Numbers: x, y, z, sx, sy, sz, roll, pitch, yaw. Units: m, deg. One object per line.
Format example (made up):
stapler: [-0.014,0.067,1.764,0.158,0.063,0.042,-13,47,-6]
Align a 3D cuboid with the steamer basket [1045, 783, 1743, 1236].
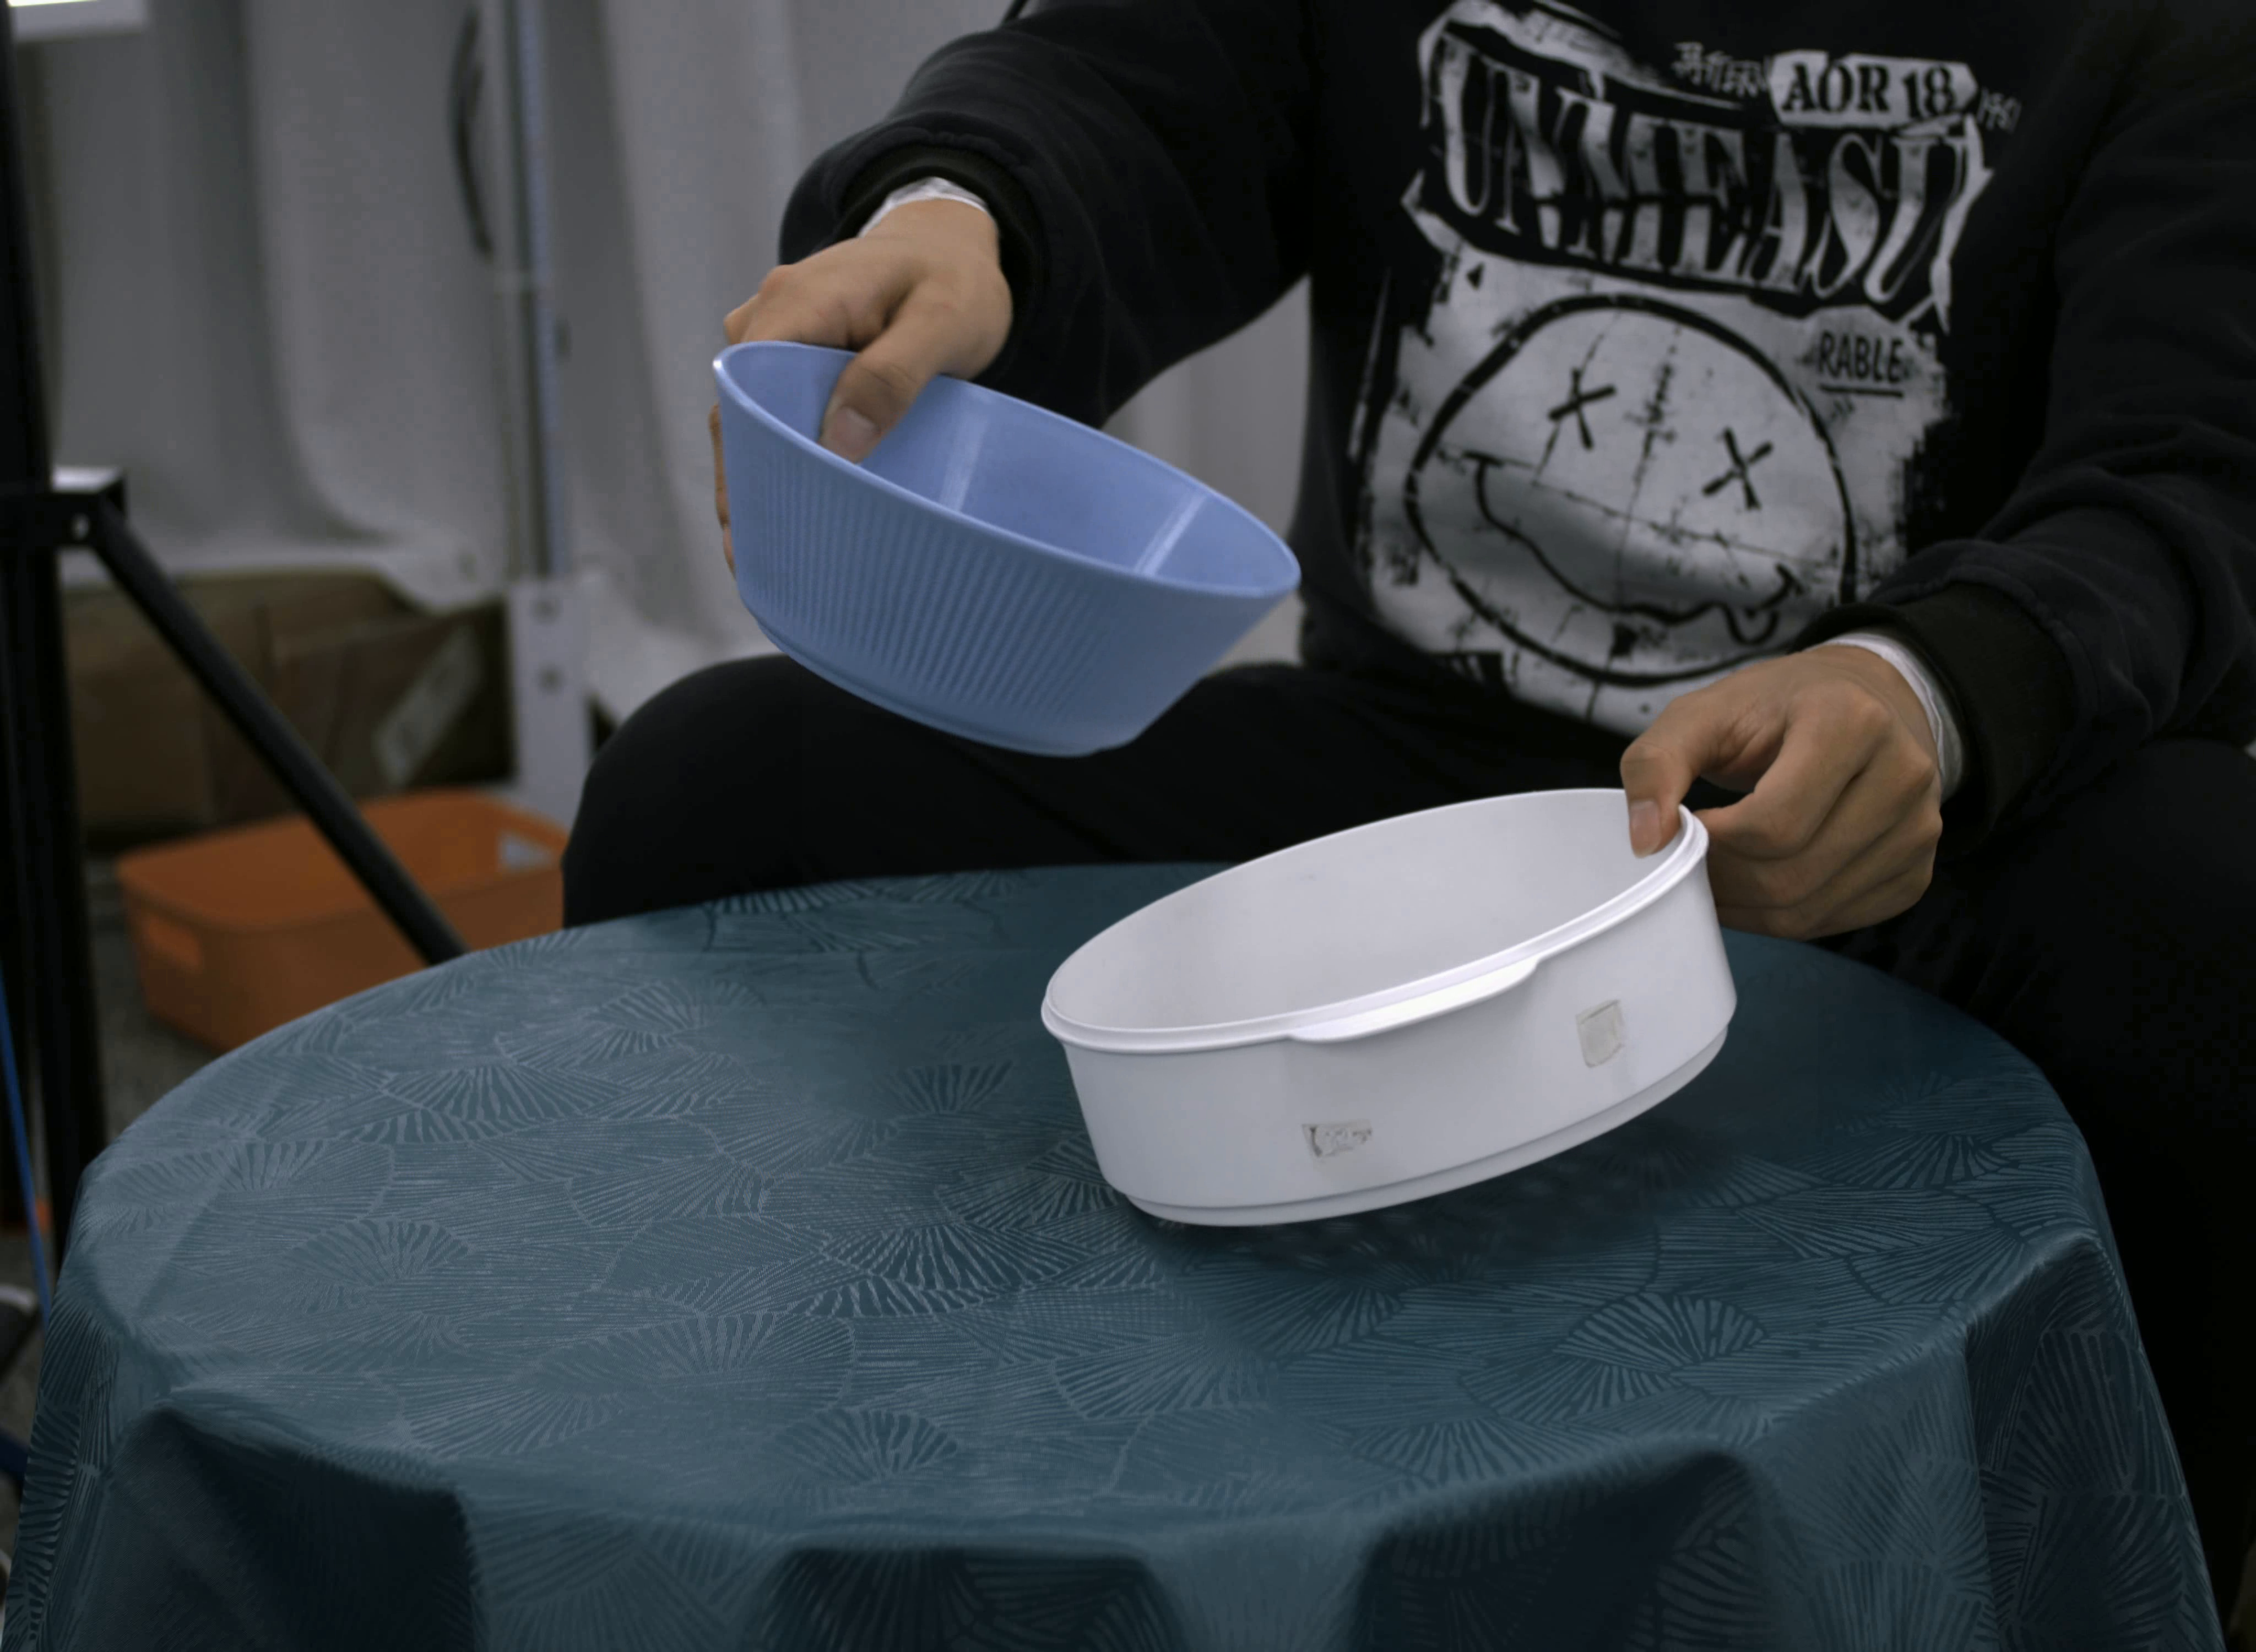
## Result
steamer basket: [0.080,0.054,1.545,0.201,0.069,0.232,-17,15,-1]

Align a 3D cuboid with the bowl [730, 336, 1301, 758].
bowl: [-0.043,-0.074,1.516,0.174,0.070,0.177,22,15,-7]
